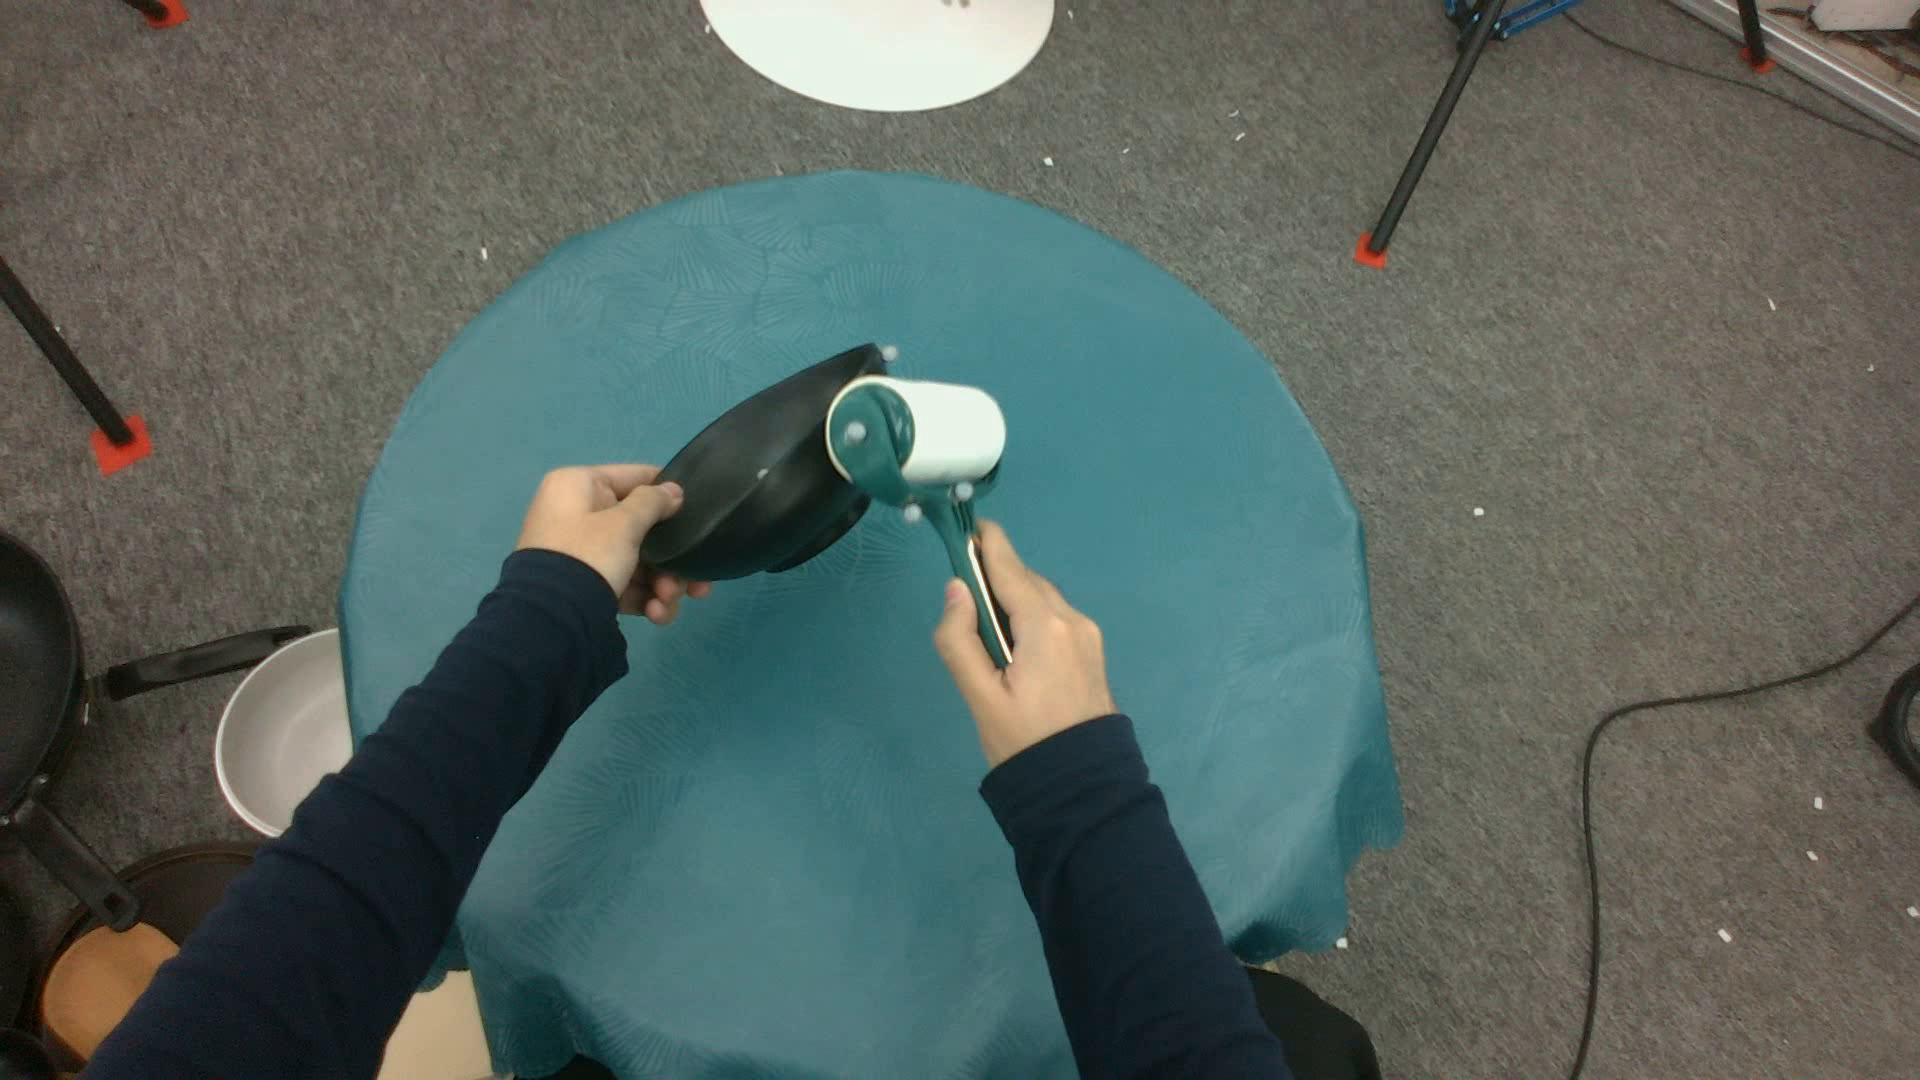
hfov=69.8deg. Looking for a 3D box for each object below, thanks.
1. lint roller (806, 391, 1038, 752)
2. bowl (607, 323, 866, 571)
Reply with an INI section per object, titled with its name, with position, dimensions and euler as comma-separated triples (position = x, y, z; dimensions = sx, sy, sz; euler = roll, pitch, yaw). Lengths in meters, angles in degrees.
[lint roller]
position = 0.004, 0.011, 0.646
dimensions = 0.048, 0.134, 0.180
euler = -34, 80, 21
[bowl]
position = -0.100, -0.038, 0.692
dimensions = 0.066, 0.137, 0.171
euler = 53, 43, -23
